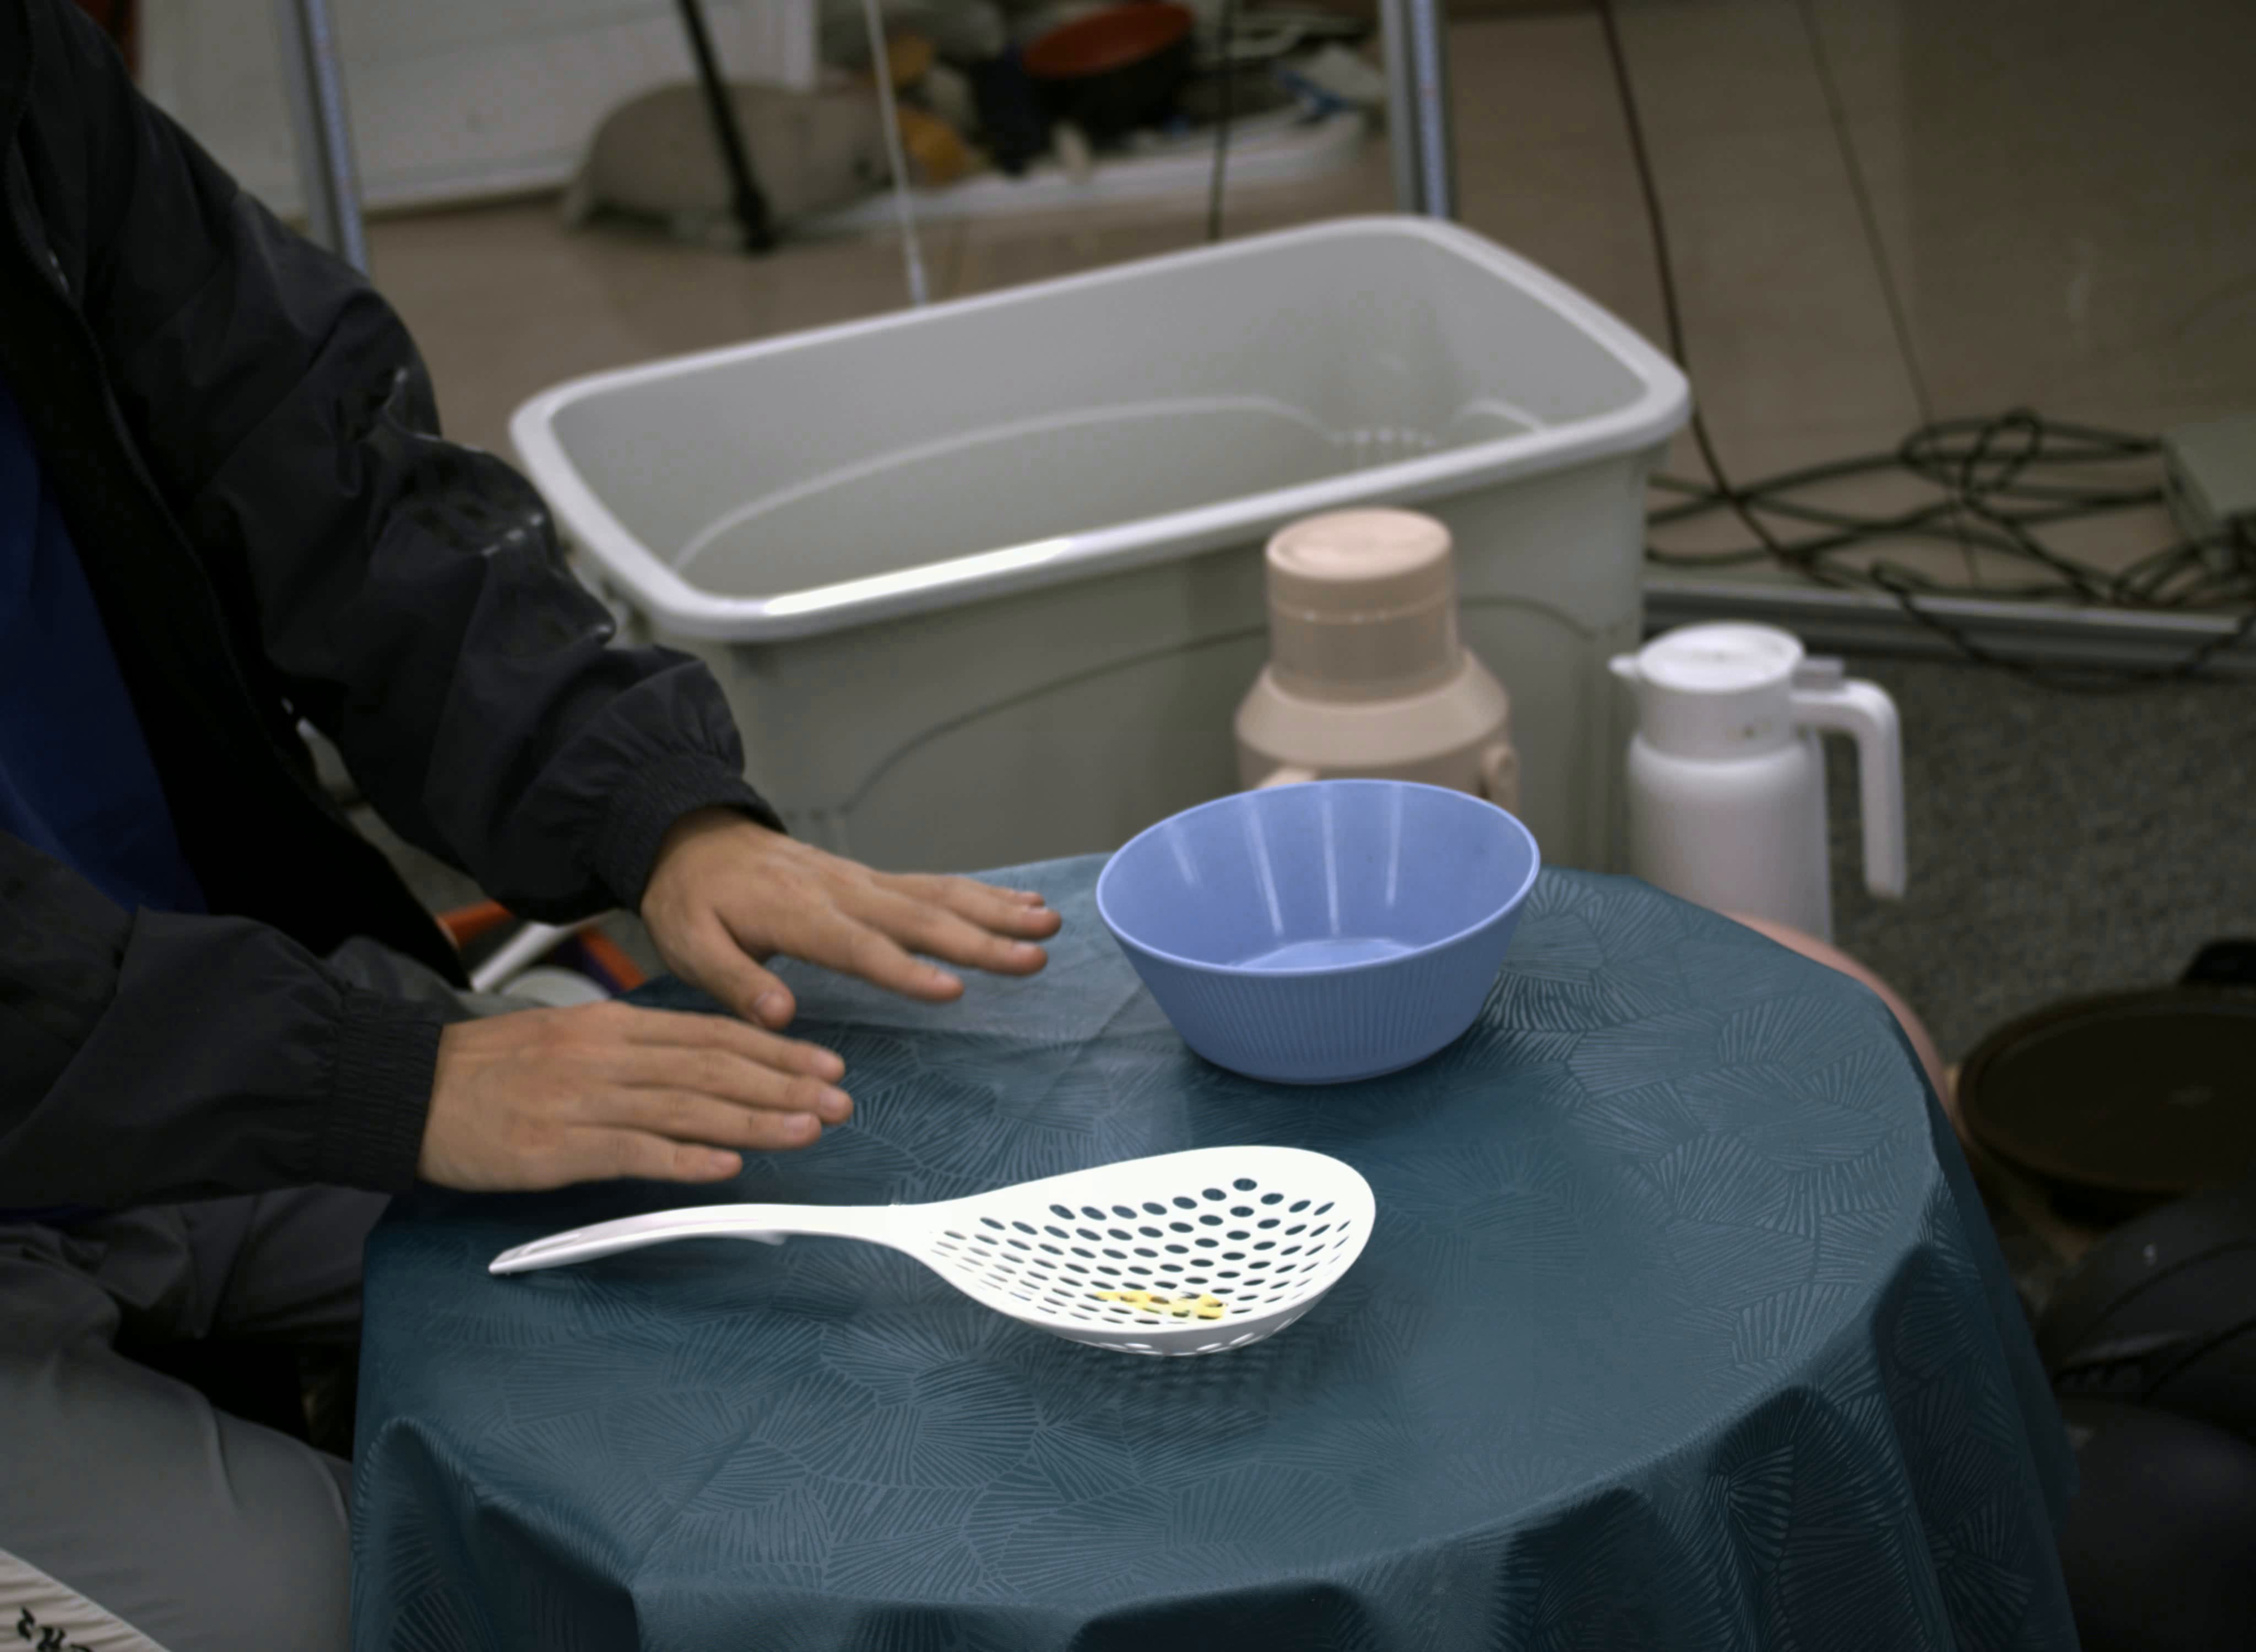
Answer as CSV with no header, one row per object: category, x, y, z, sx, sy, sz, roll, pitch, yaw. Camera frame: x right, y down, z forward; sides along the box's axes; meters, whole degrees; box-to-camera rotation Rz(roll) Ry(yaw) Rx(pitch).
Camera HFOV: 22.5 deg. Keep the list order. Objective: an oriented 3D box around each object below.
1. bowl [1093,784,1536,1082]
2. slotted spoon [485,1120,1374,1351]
bowl,0.076,0.047,2.241,0.176,0.071,0.173,-5,24,3
slotted spoon,-0.078,0.156,2.078,0.347,0.051,0.135,2,30,19
